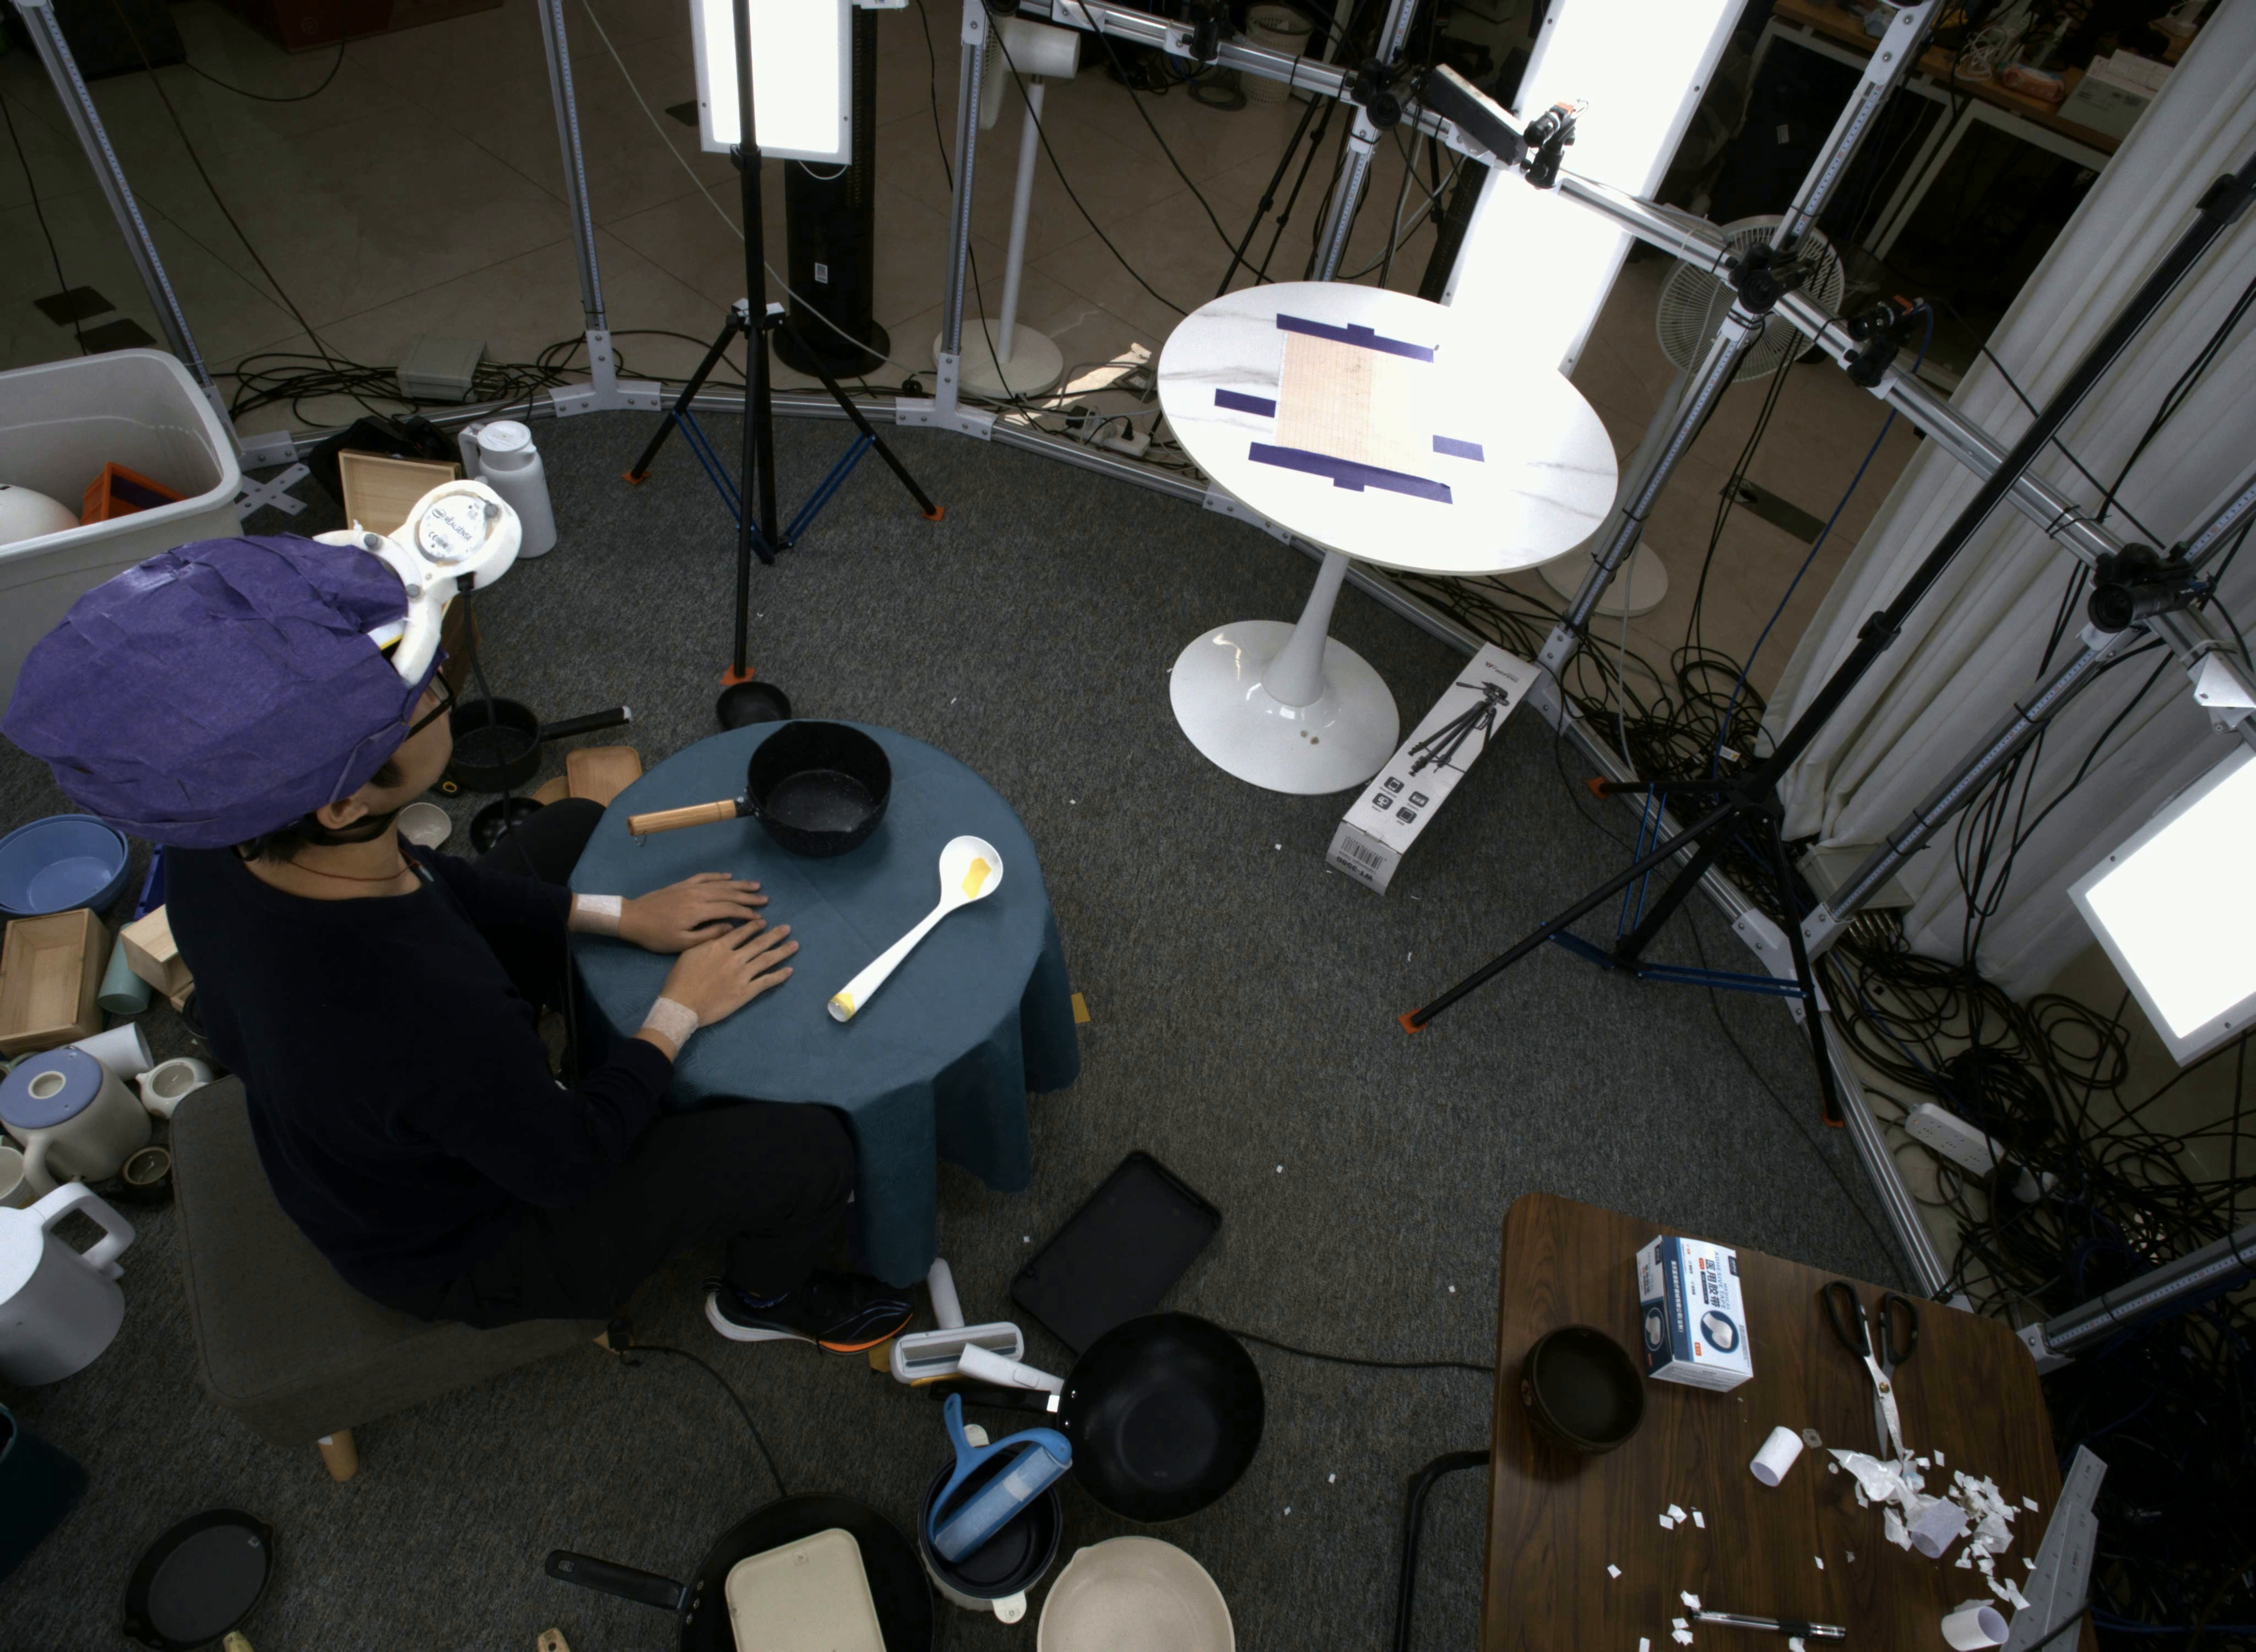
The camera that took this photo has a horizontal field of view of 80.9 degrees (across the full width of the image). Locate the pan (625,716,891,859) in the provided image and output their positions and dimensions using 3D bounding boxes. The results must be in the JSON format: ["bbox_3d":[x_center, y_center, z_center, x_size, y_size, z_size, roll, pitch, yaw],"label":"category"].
[{"bbox_3d":[-0.469,-0.024,1.650,0.345,0.110,0.202,-21,62,-29],"label":"pan"}]

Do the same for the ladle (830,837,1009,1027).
[{"bbox_3d":[-0.261,0.130,1.618,0.089,0.071,0.292,37,54,8],"label":"ladle"}]
